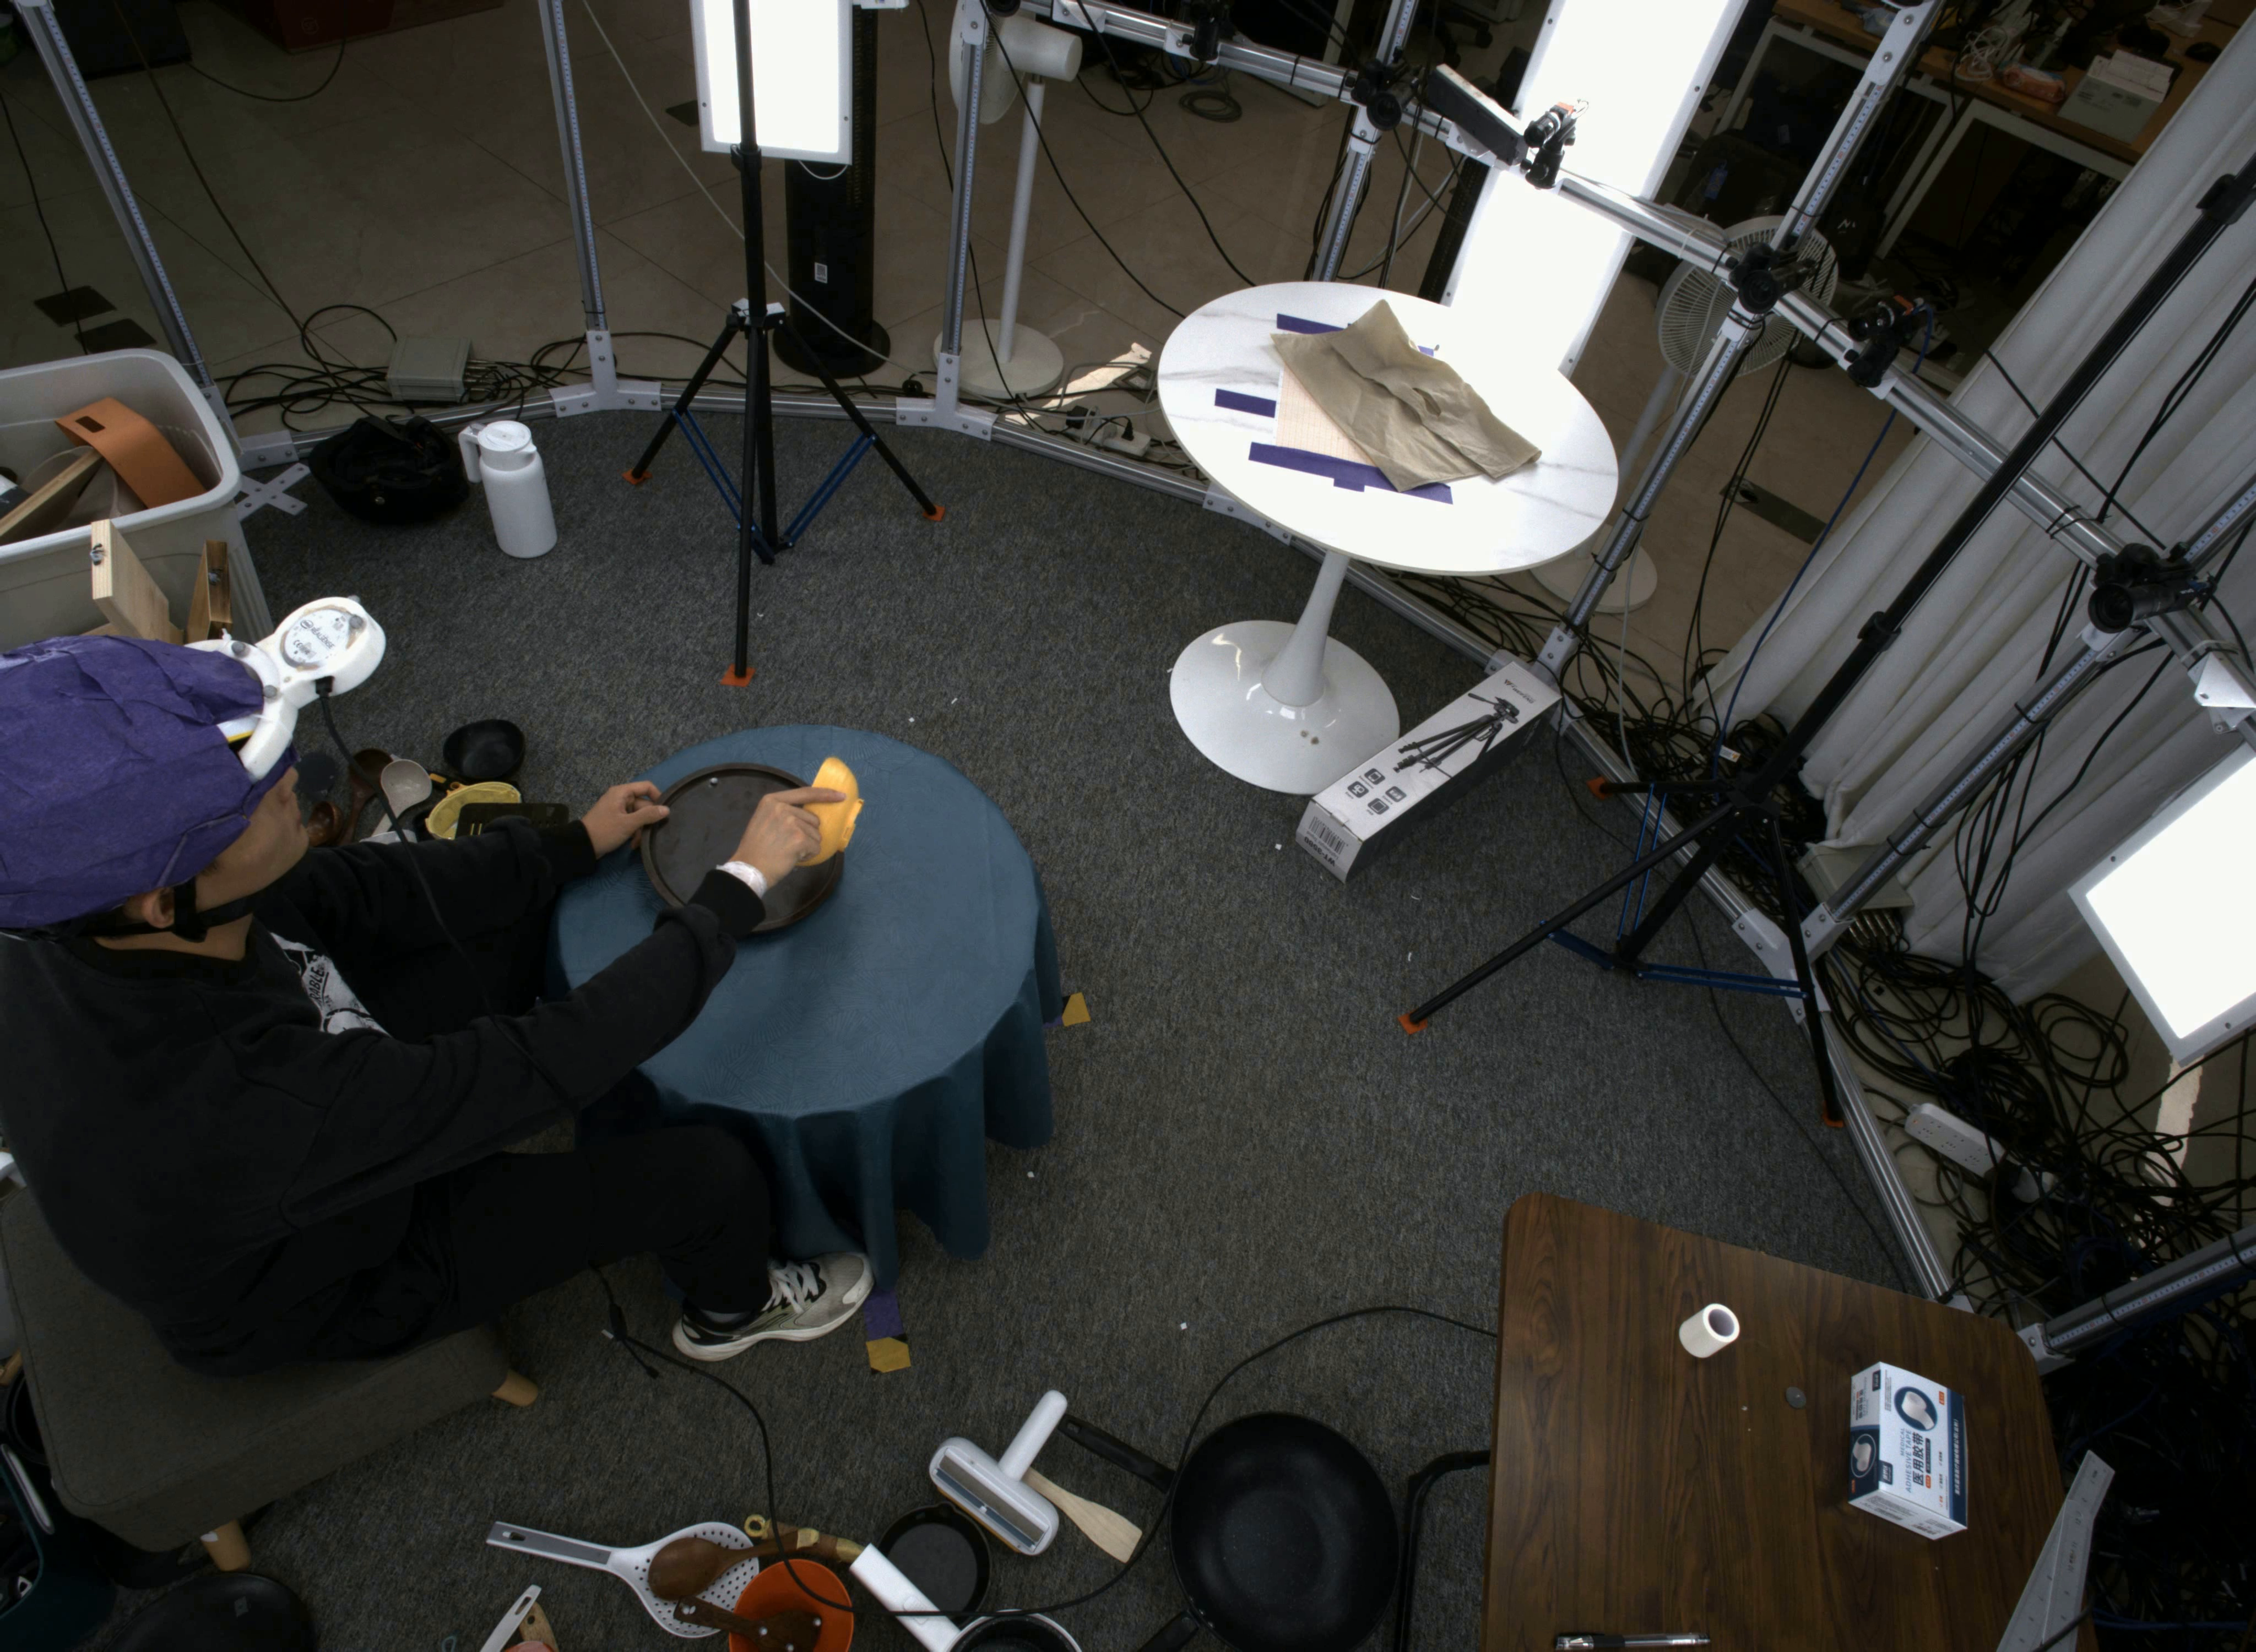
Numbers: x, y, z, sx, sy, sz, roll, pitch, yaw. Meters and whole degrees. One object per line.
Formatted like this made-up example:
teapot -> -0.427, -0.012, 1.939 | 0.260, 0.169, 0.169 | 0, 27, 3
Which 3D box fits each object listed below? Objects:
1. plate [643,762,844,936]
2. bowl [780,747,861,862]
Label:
plate -> -0.491, 0.027, 1.656 | 0.256, 0.029, 0.251 | 11, 58, -16
bowl -> -0.360, -0.017, 1.554 | 0.060, 0.147, 0.143 | 23, 50, -6
